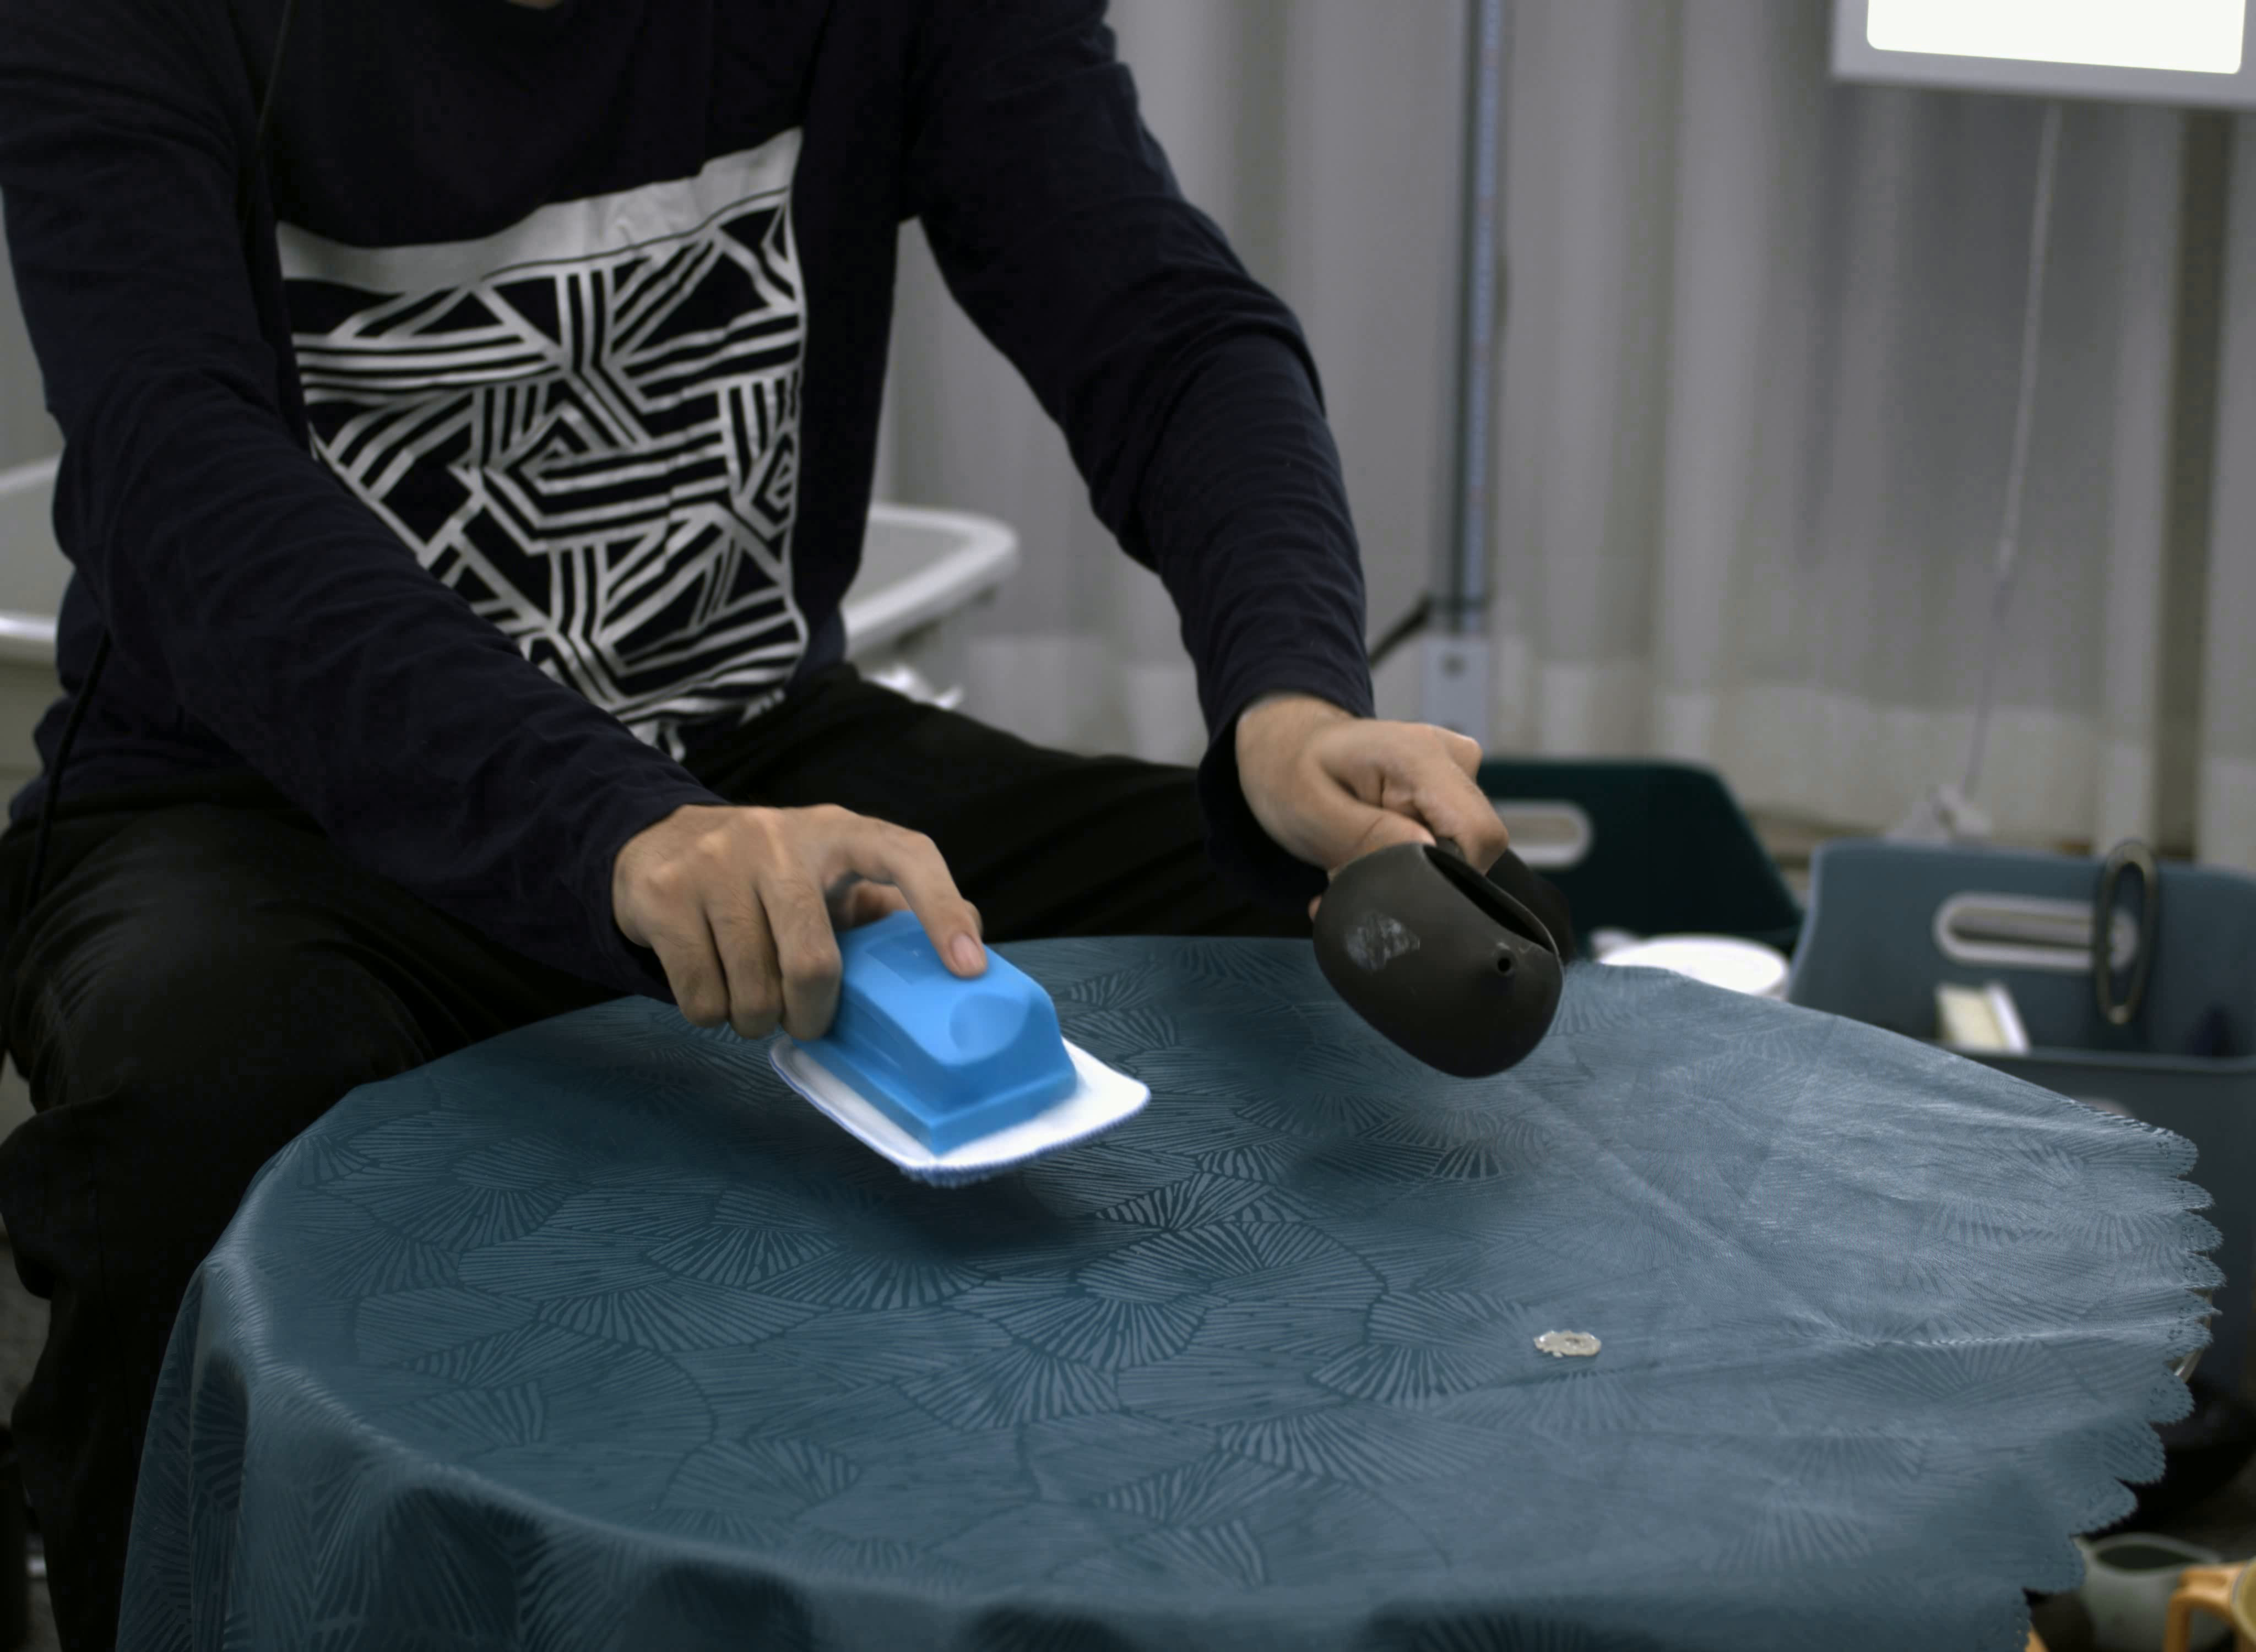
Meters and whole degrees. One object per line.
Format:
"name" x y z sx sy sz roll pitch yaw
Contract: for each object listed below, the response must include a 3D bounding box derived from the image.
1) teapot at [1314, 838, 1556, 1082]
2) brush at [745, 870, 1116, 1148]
"teapot" 0.096 0.036 1.661 0.083 0.053 0.113 40 15 -16
"brush" -0.063 0.053 1.617 0.084 0.056 0.142 -15 23 -19
